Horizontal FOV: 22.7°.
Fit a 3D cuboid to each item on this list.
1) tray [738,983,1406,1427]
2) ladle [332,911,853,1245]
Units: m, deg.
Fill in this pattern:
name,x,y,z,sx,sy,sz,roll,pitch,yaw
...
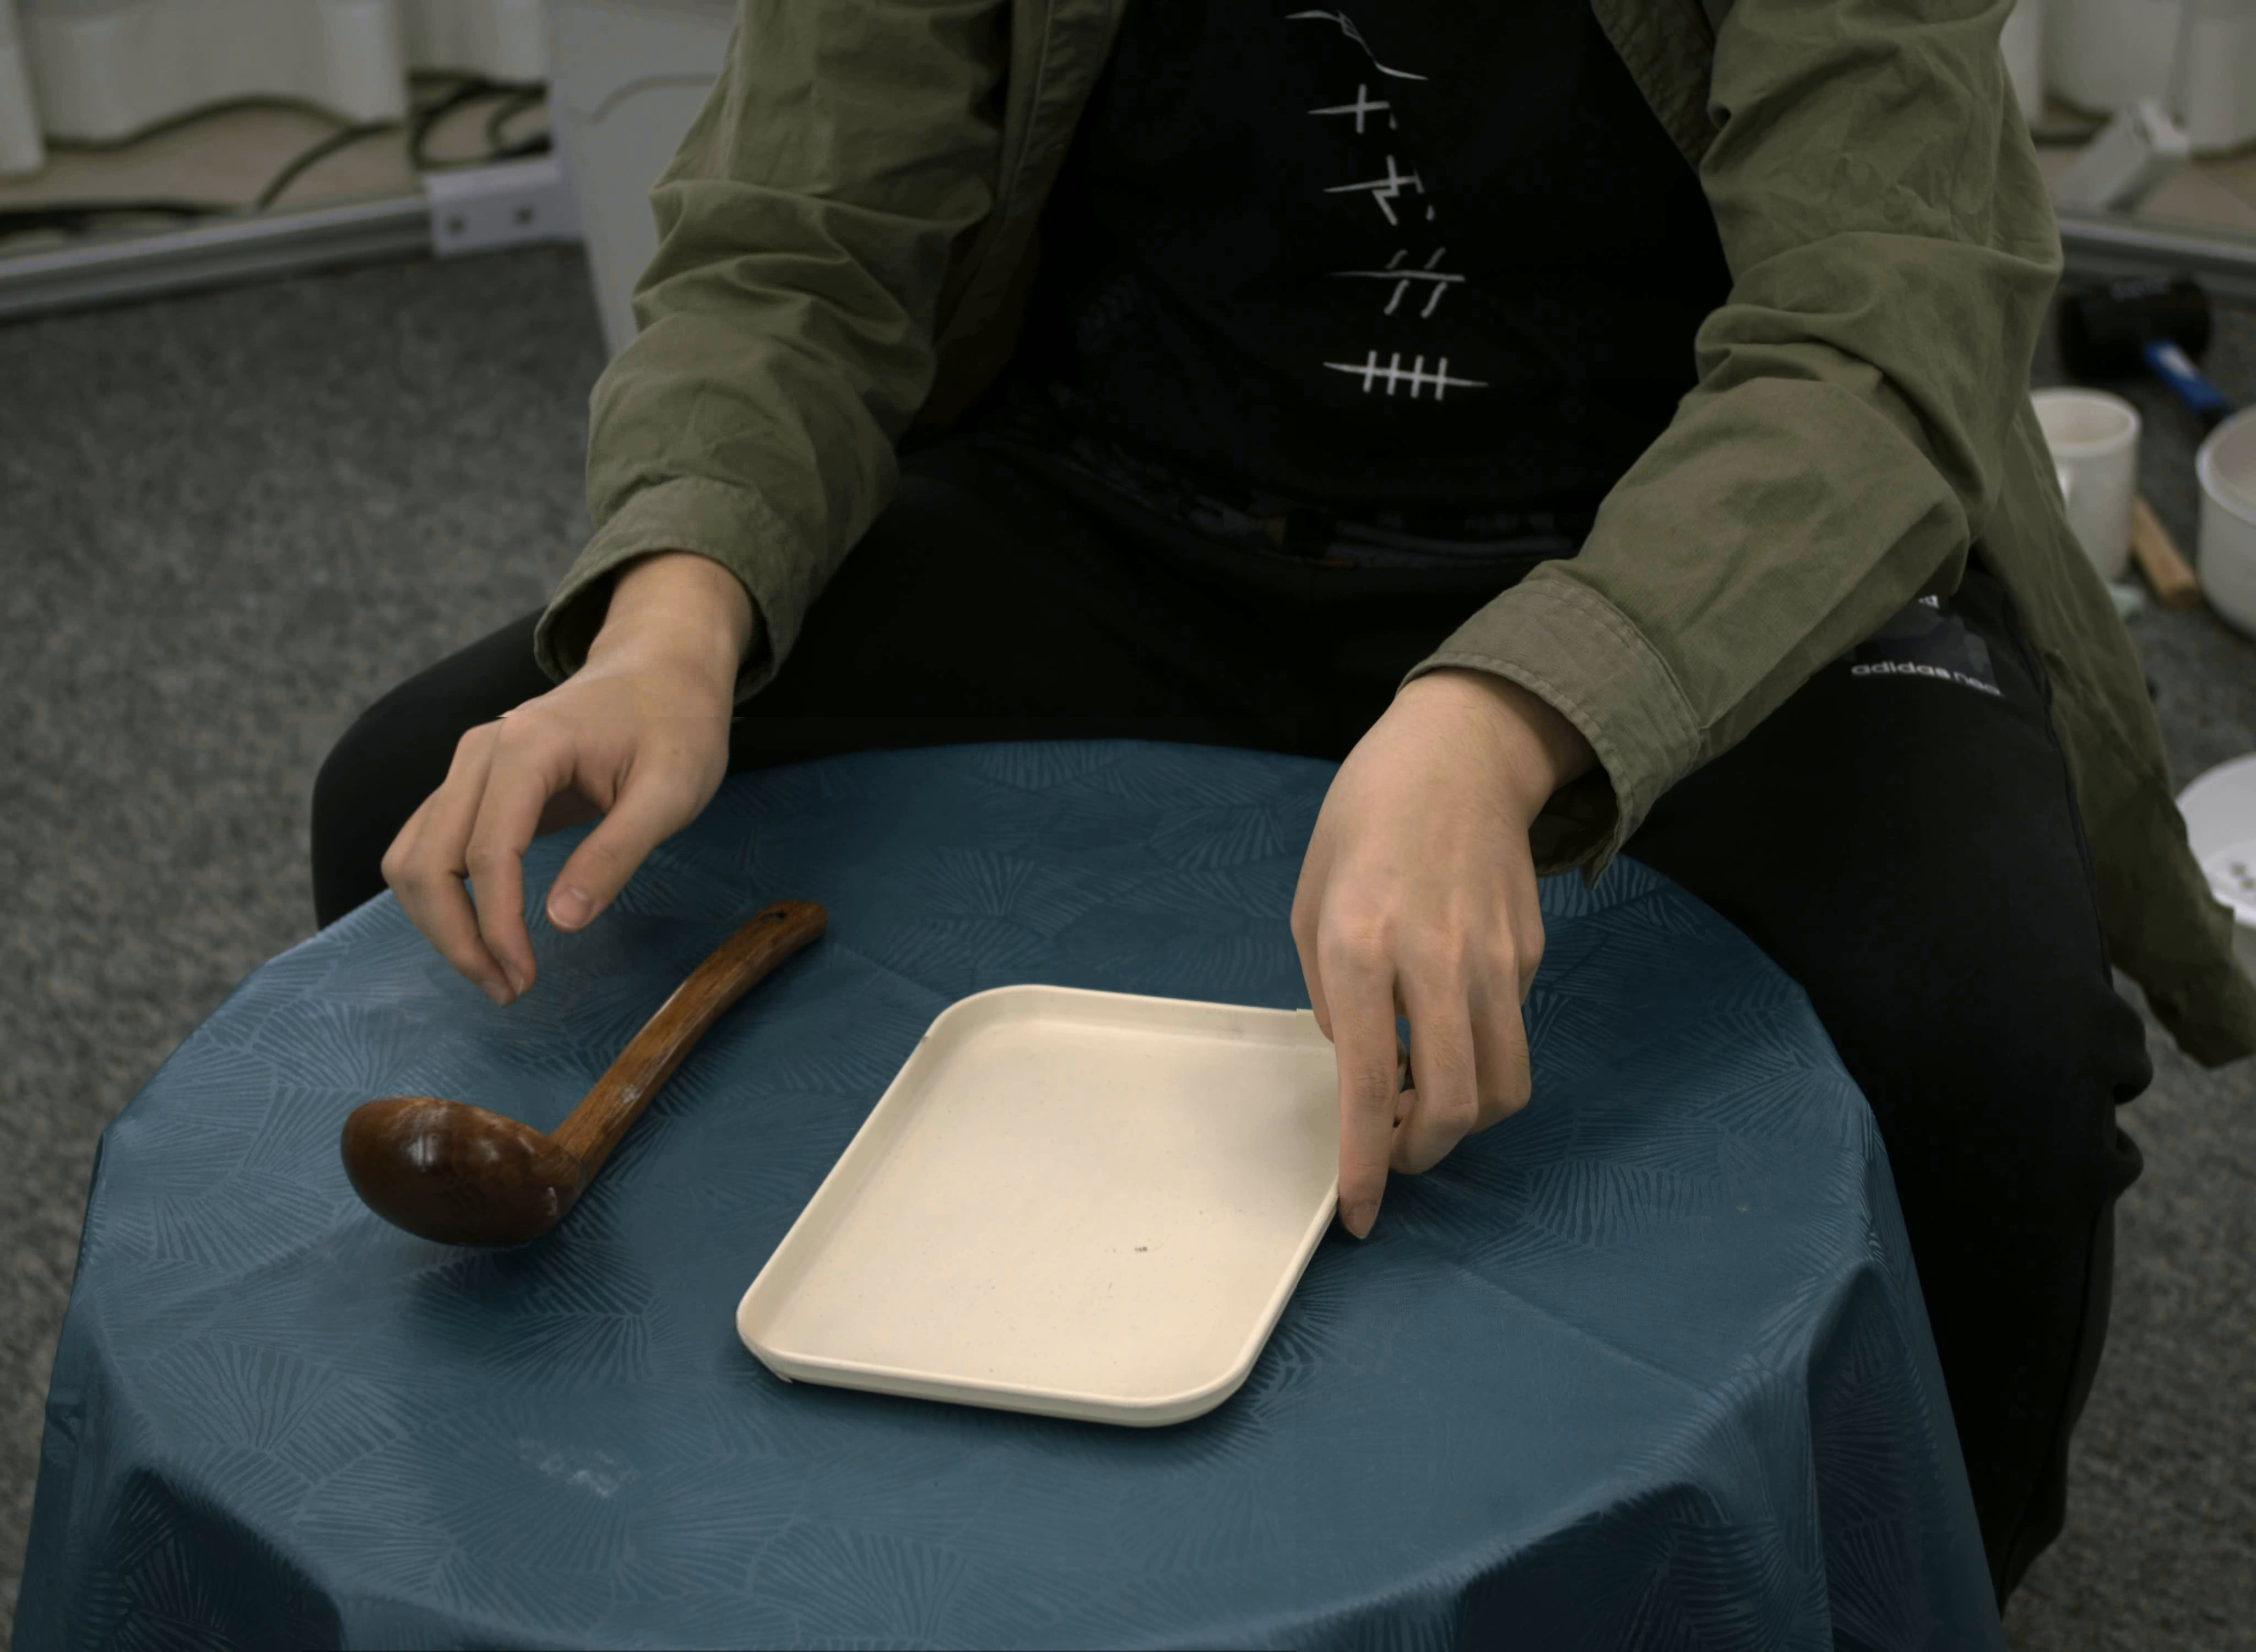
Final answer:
name,x,y,z,sx,sy,sz,roll,pitch,yaw
tray,-0.015,0.122,1.834,0.170,0.017,0.244,6,29,17
ladle,-0.174,0.065,1.903,0.081,0.076,0.278,5,27,26
